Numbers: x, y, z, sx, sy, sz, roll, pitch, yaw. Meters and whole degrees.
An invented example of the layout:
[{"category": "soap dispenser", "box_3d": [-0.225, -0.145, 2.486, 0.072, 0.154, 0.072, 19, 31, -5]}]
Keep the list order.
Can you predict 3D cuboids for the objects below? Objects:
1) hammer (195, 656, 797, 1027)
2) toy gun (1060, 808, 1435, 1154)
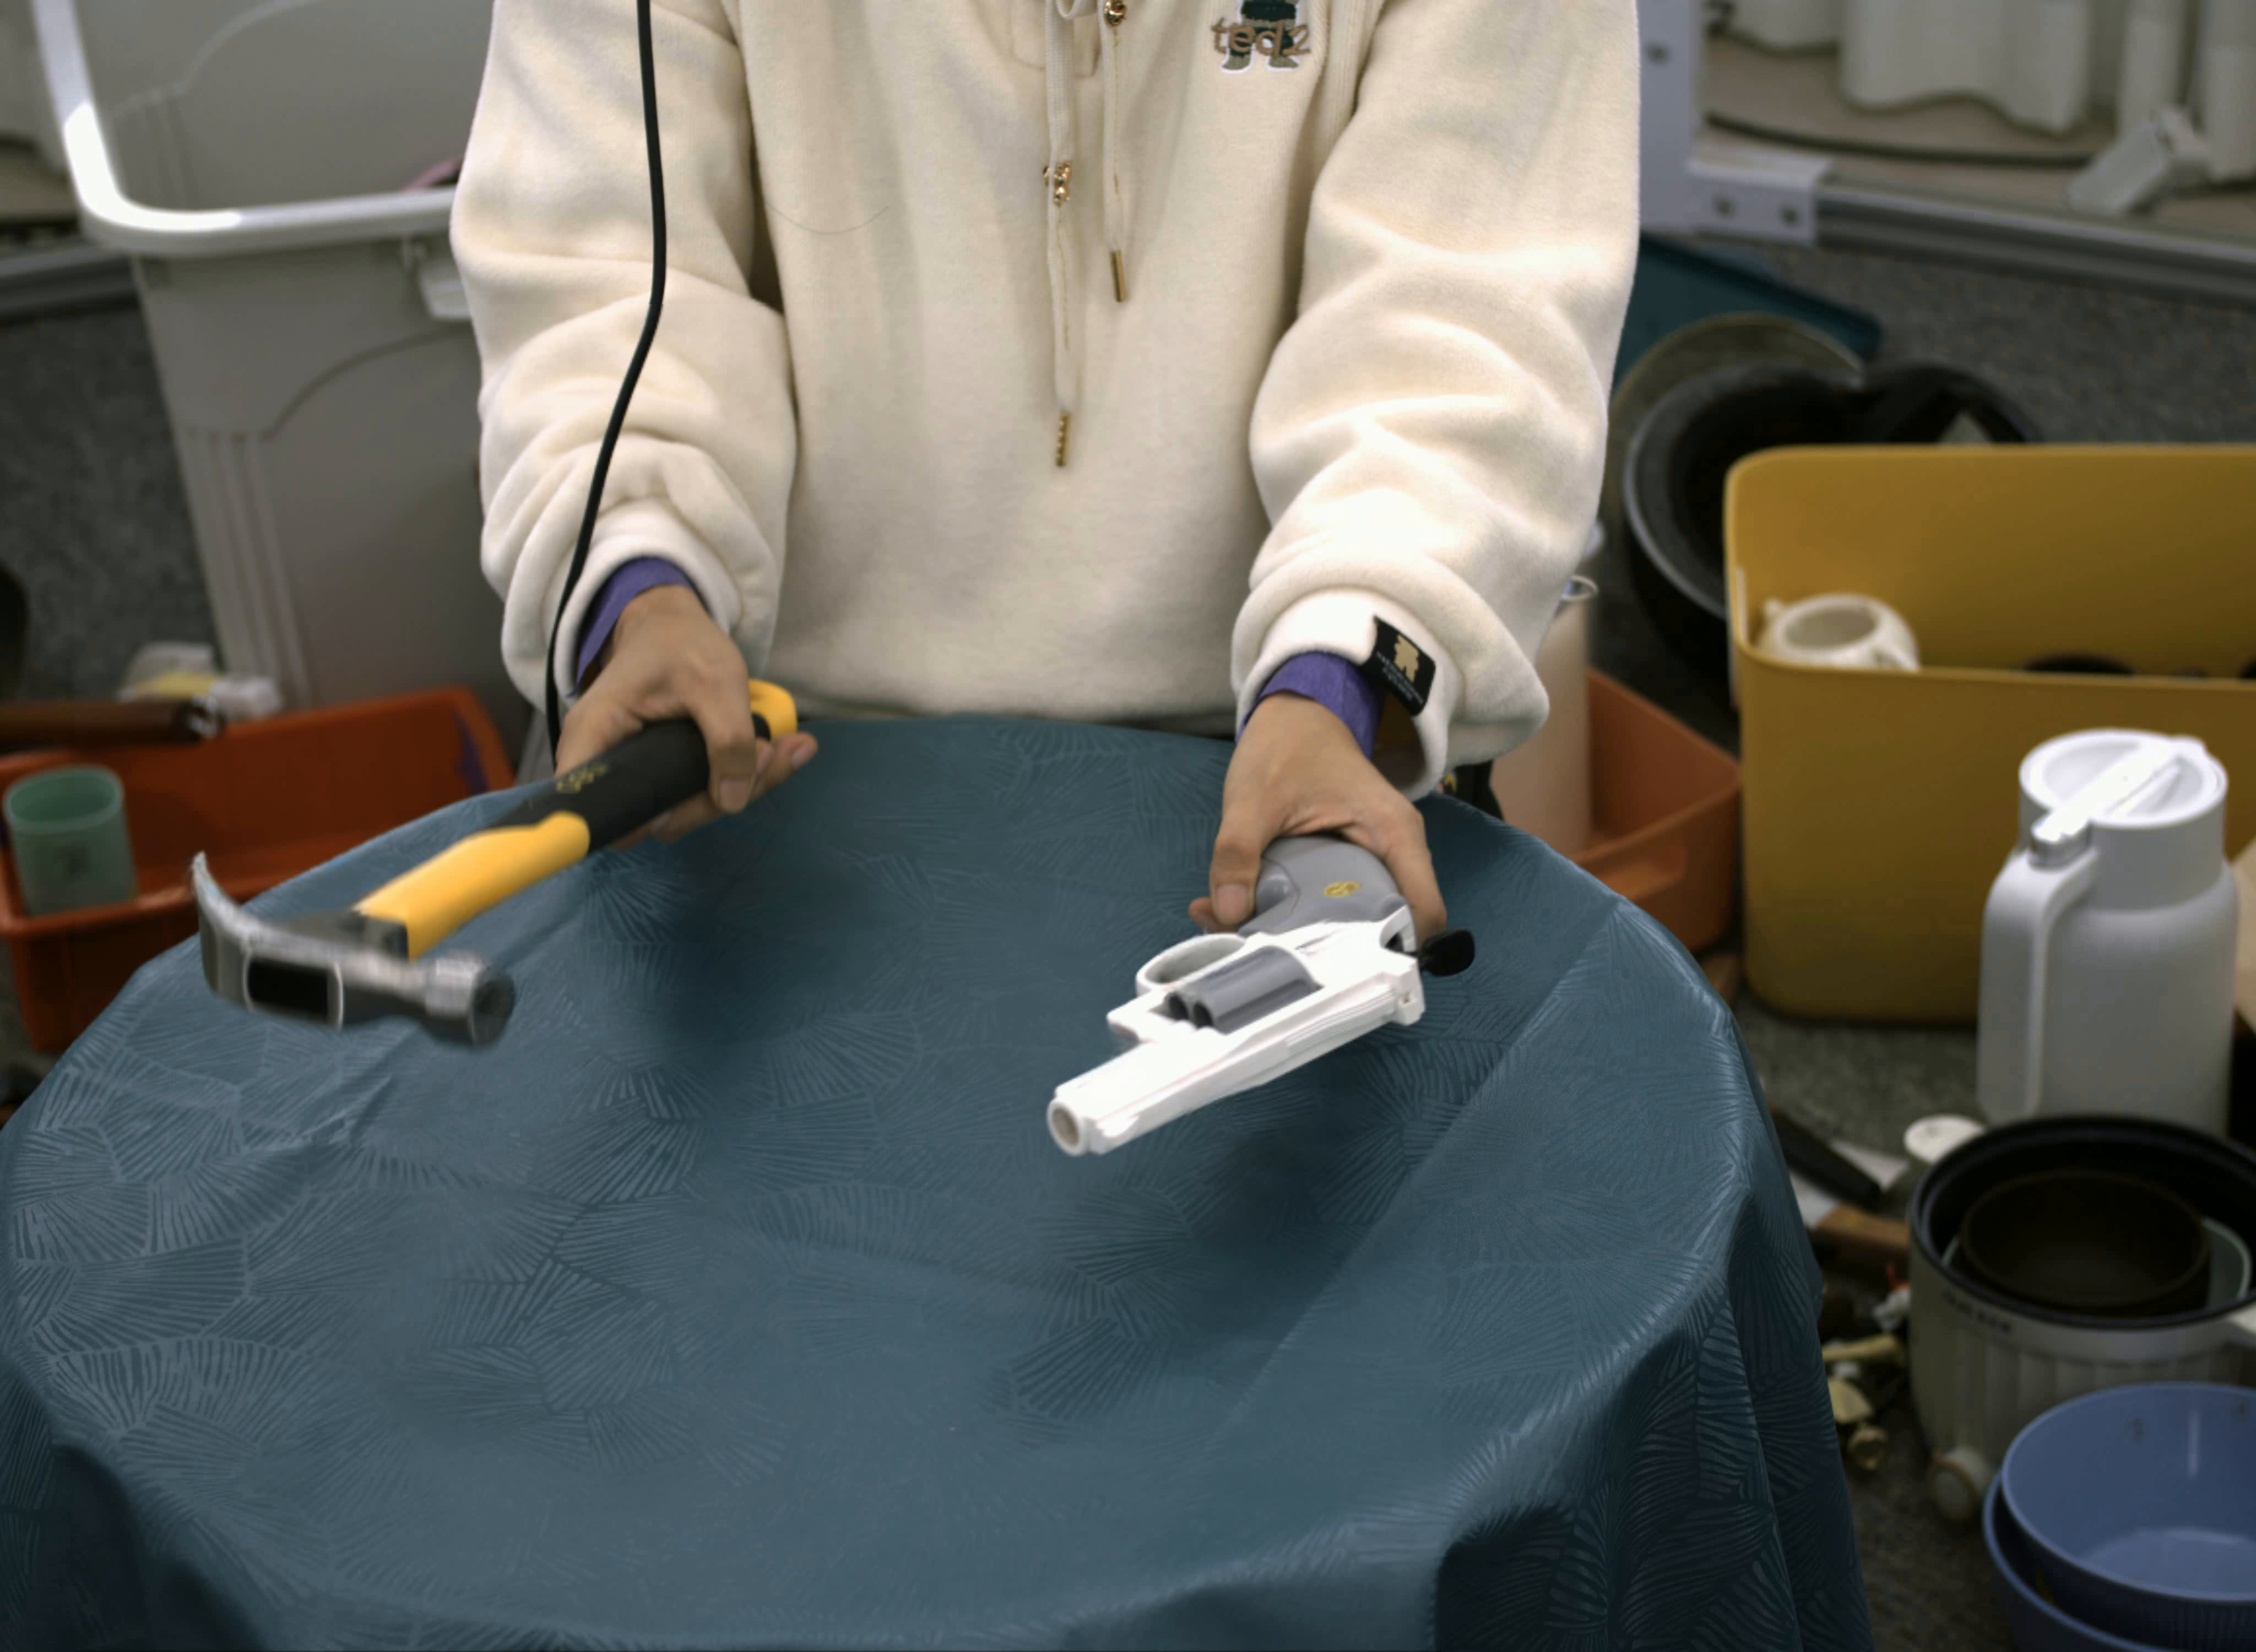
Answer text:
[{"category": "hammer", "box_3d": [-0.199, -0.003, 1.905, 0.130, 0.032, 0.343, 6, 19, 21]}, {"category": "toy gun", "box_3d": [0.030, 0.050, 1.857, 0.211, 0.038, 0.141, -24, 26, -36]}]
